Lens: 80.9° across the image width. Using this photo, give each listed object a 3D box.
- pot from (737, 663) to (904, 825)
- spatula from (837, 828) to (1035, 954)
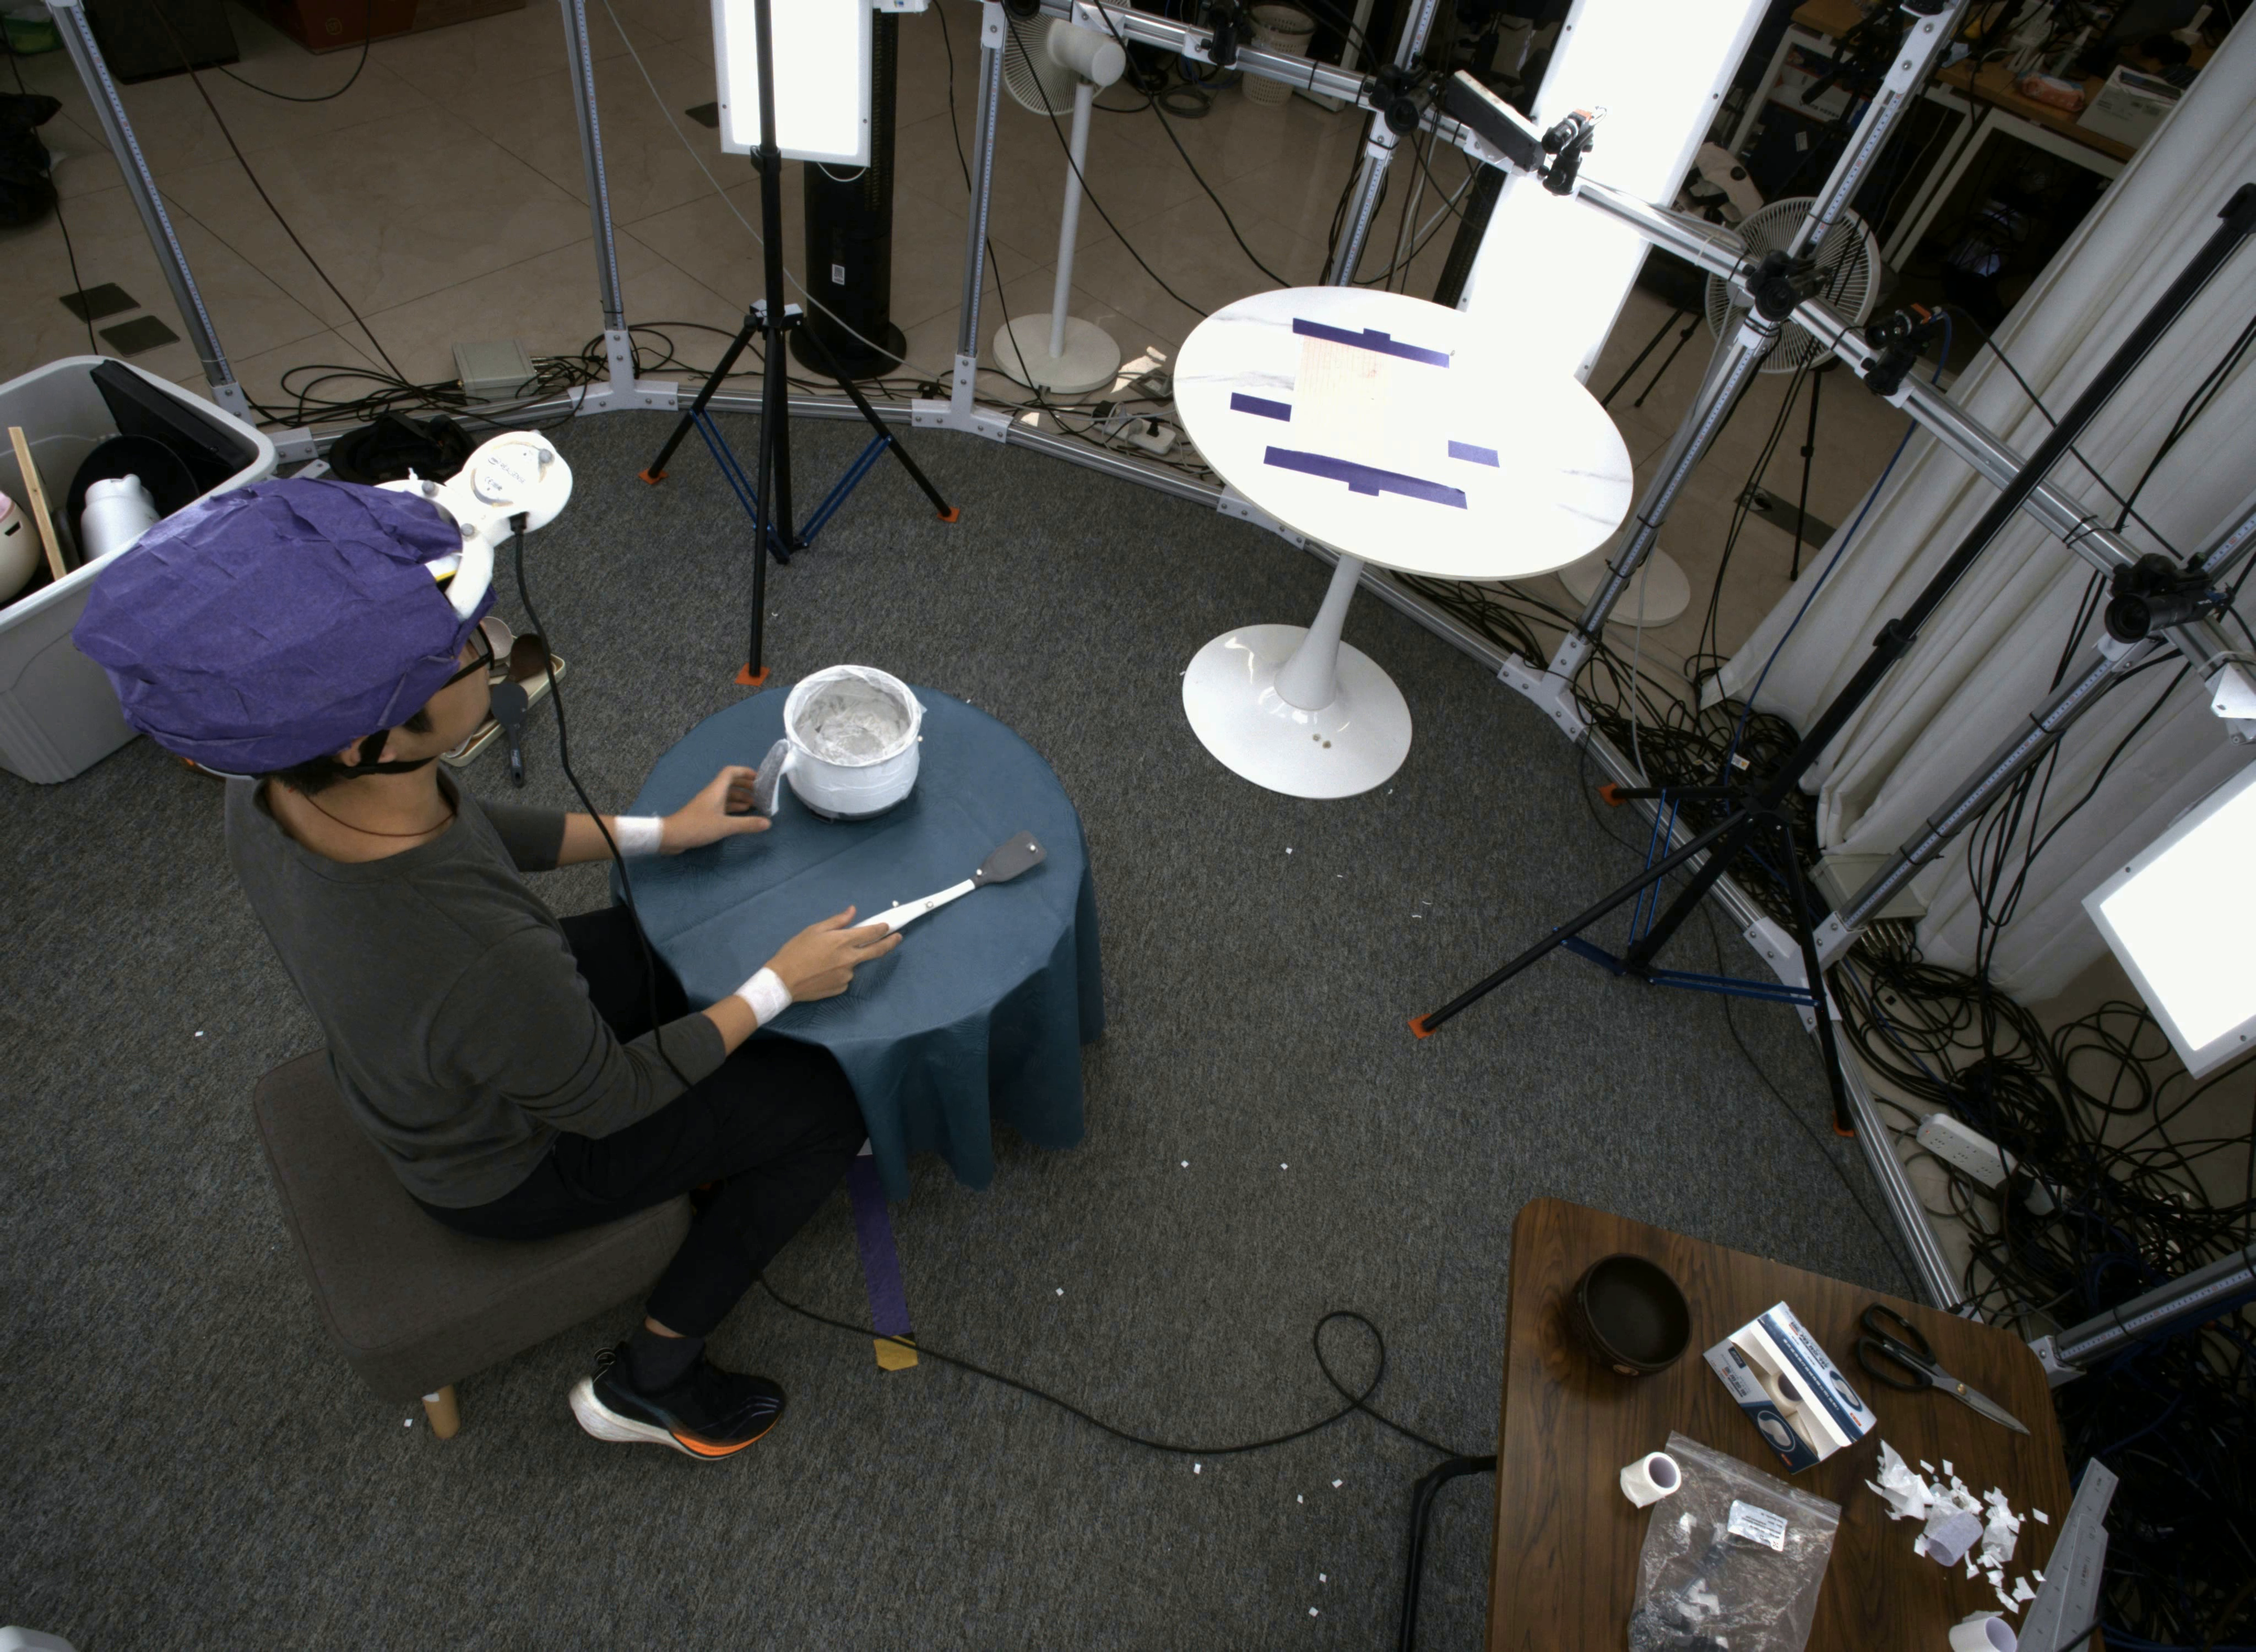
[{"bbox_3d":[-0.411,-0.095,1.720,0.234,0.139,0.174,-31,65,-31],"label":"pot"},{"bbox_3d":[-0.248,0.083,1.697,0.288,0.033,0.057,-29,61,-30],"label":"spatula"}]
